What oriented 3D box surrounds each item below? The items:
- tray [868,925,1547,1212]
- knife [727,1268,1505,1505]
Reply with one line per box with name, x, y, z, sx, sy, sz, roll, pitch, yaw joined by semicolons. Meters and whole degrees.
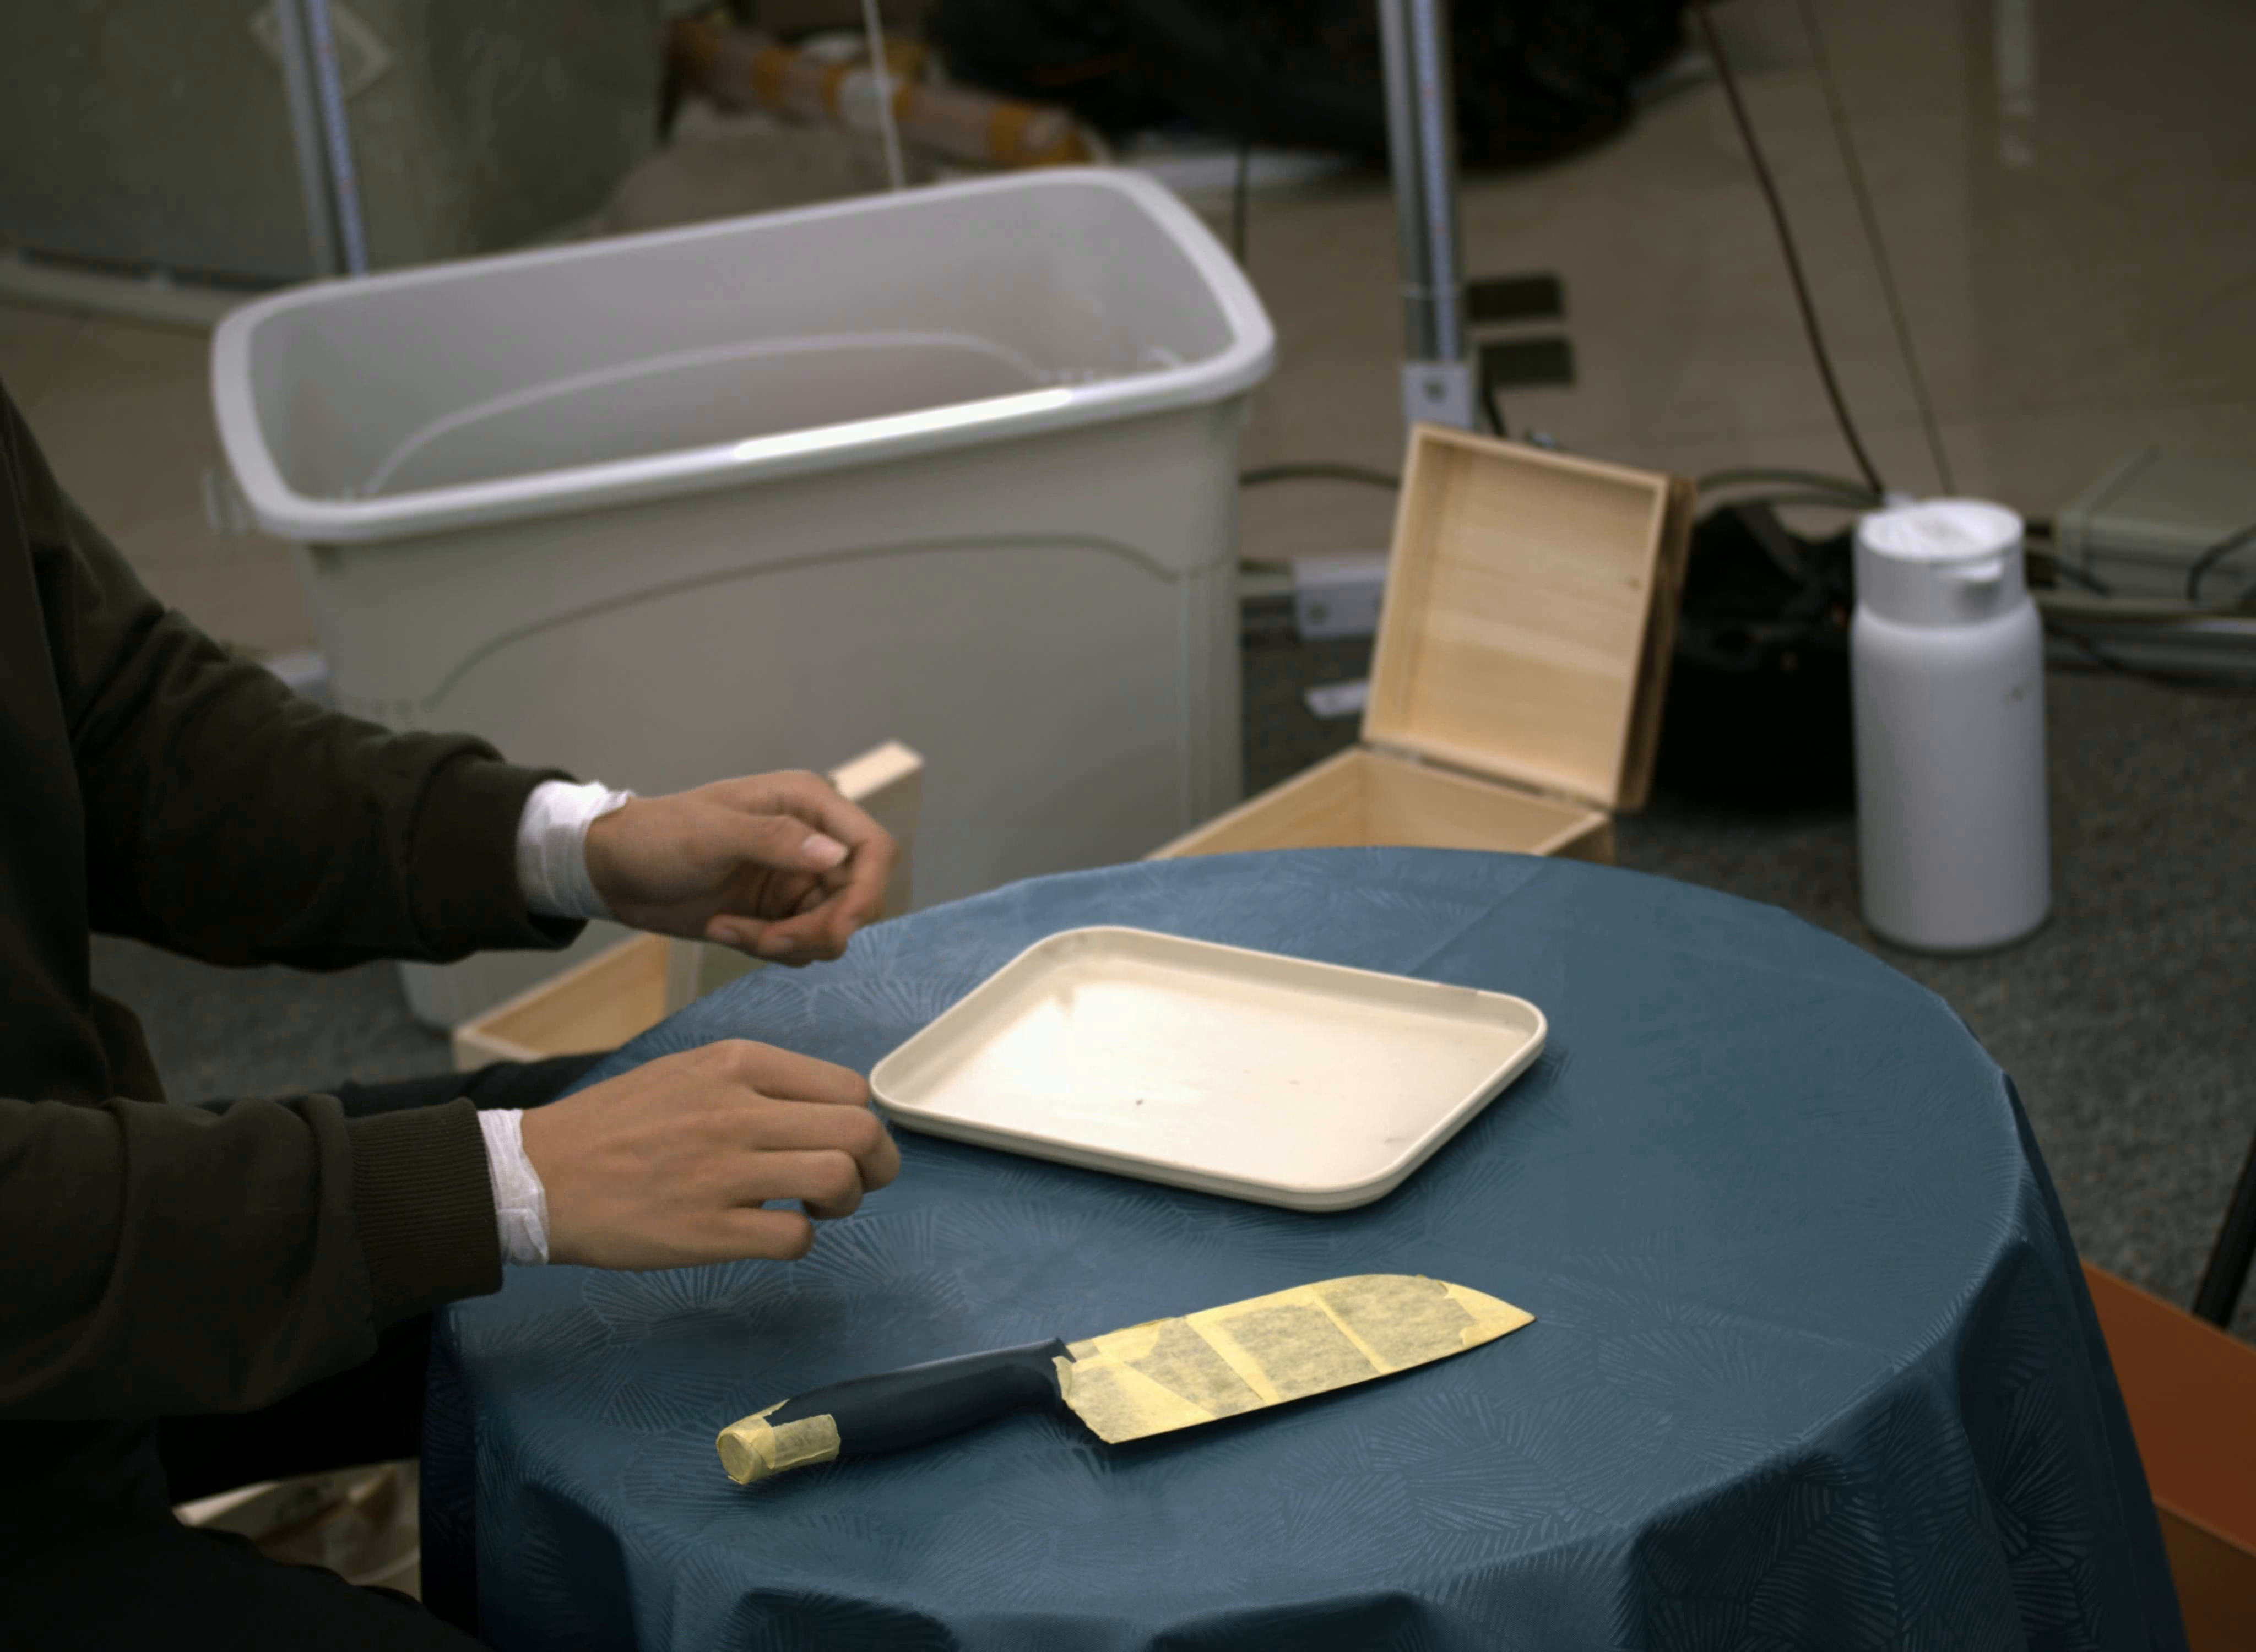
tray;0.031;0.094;2.219;0.238;0.018;0.169;10;30;32
knife;0.000;0.198;2.007;0.288;0.027;0.080;-13;24;-16
